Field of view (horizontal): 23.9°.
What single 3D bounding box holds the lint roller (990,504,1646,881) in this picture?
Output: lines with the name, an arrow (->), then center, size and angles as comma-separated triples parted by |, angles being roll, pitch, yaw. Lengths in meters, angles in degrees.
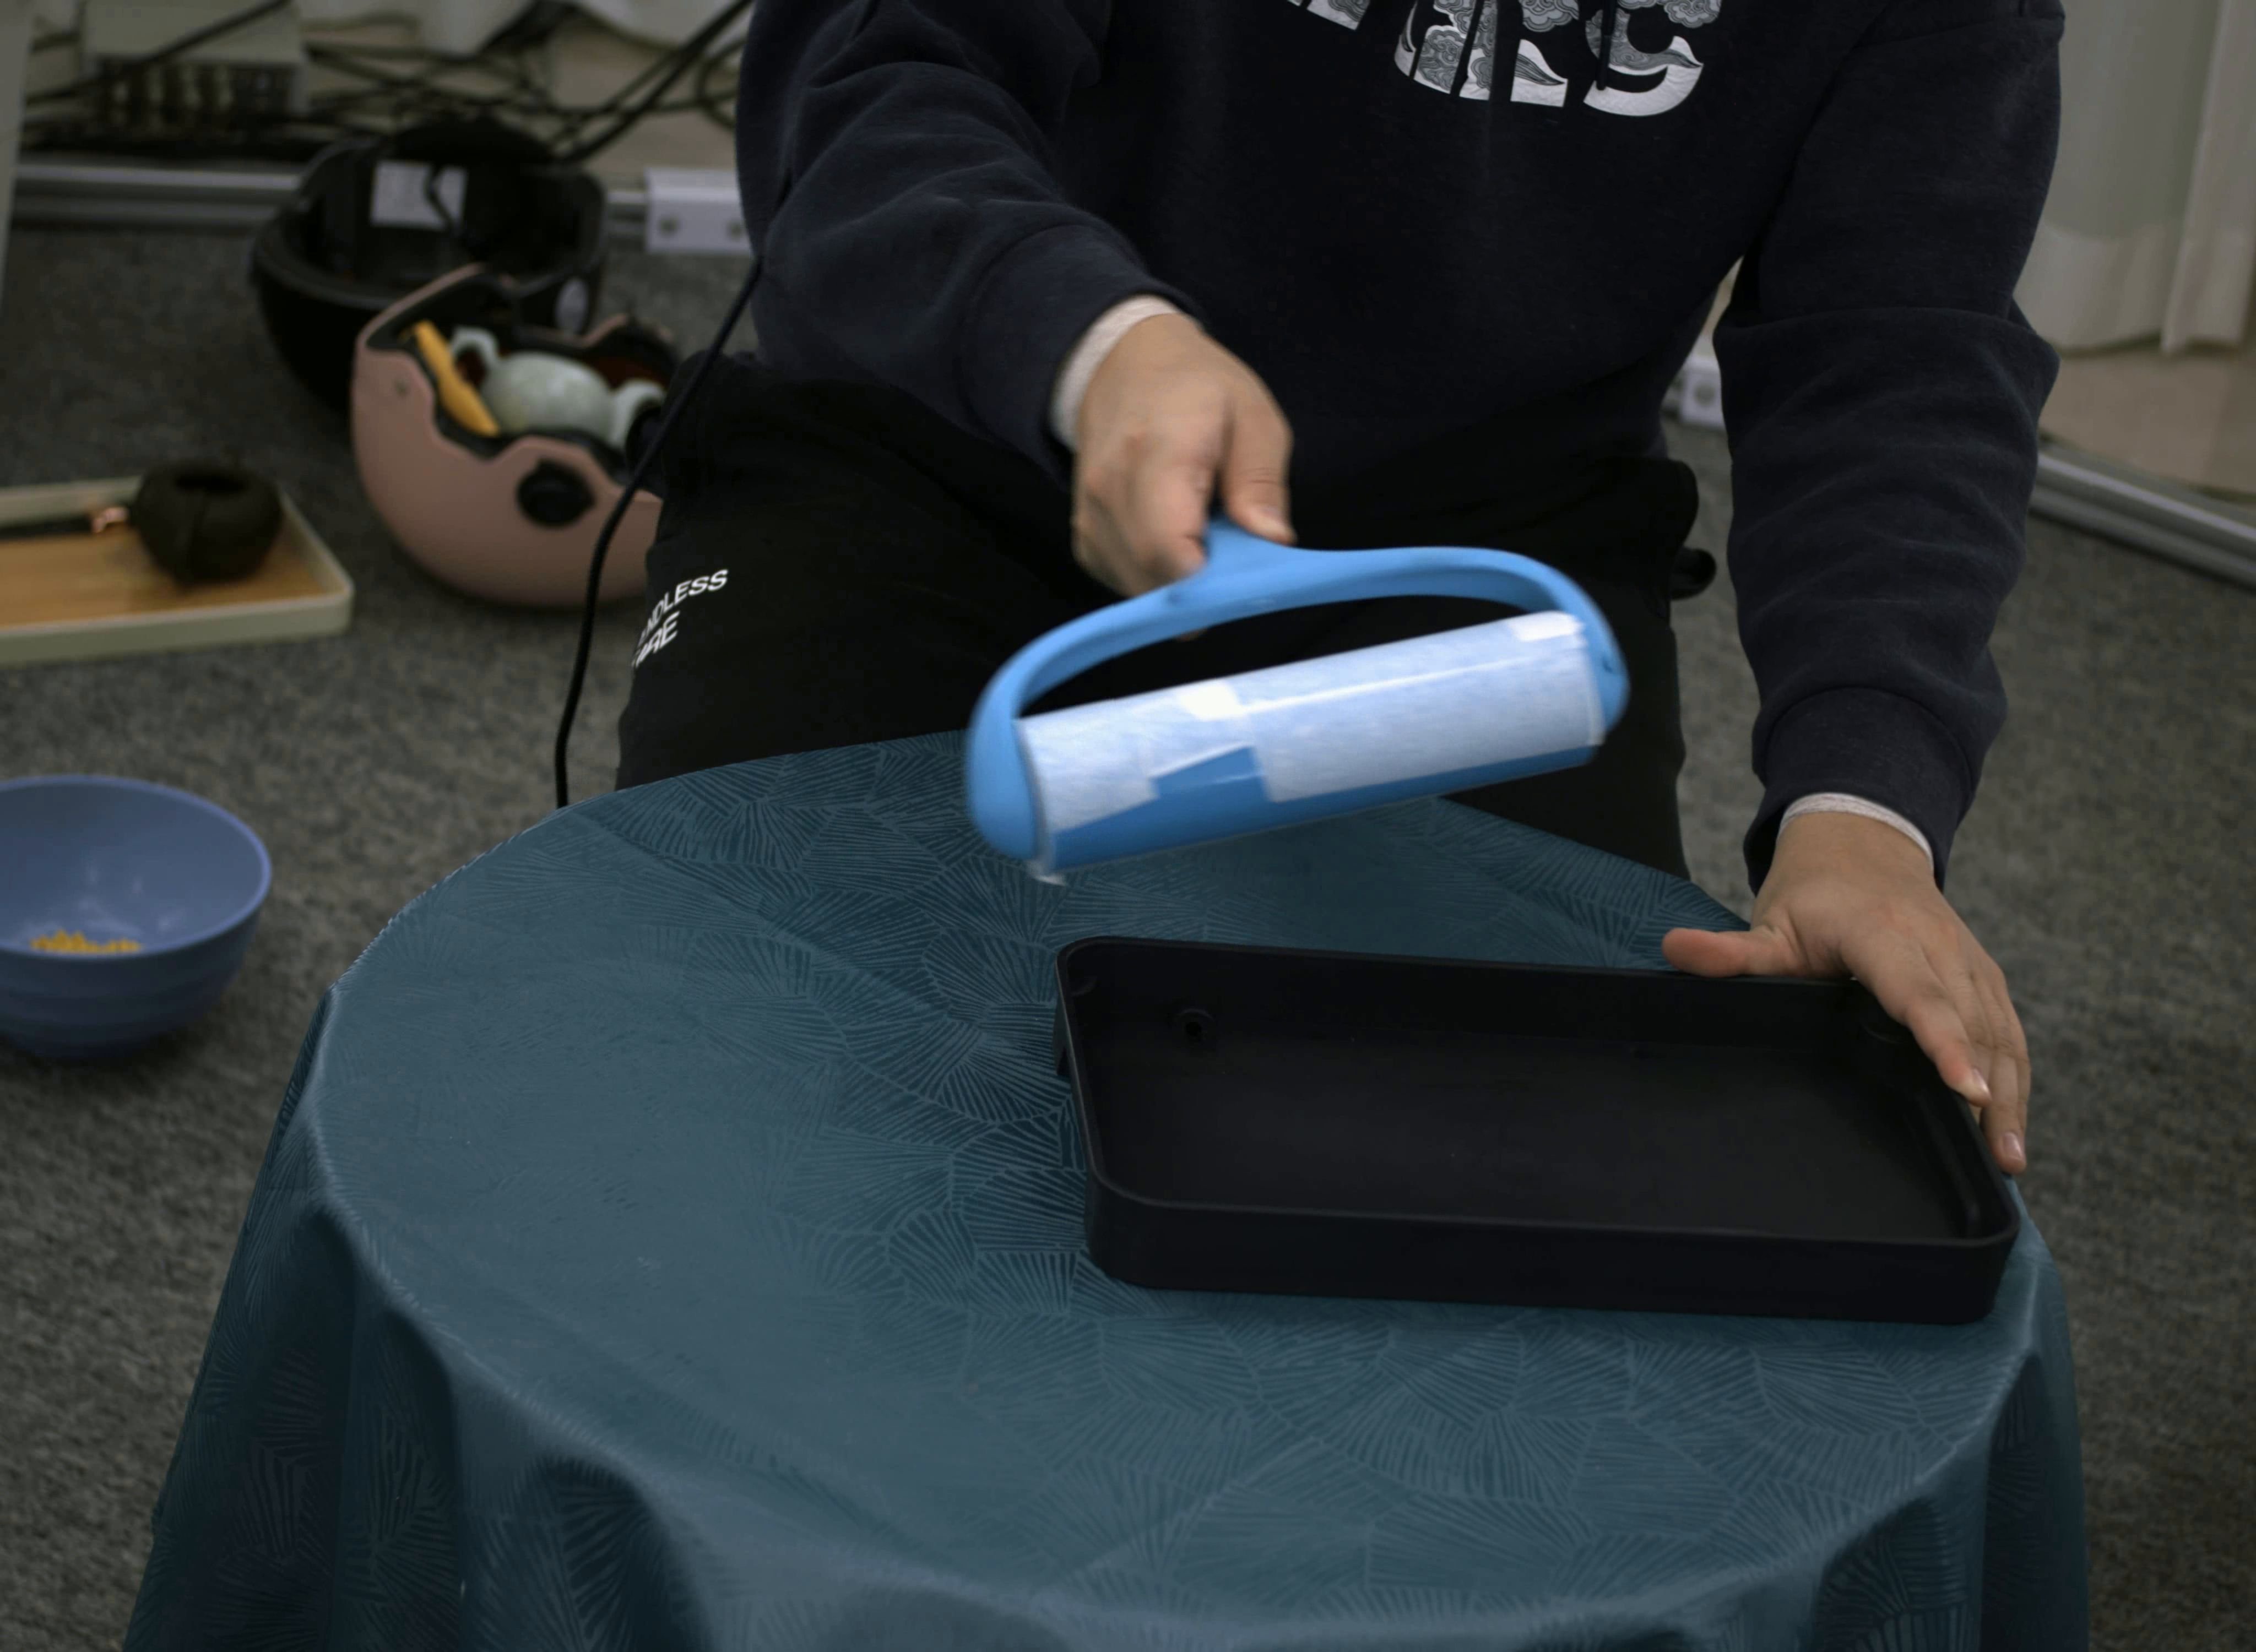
lint roller -> 0.046, -0.068, 1.831 | 0.228, 0.067, 0.182 | -15, 45, -11

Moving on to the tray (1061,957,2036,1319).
tray -> 0.140, 0.107, 1.840 | 0.316, 0.037, 0.185 | 1, 27, -7
